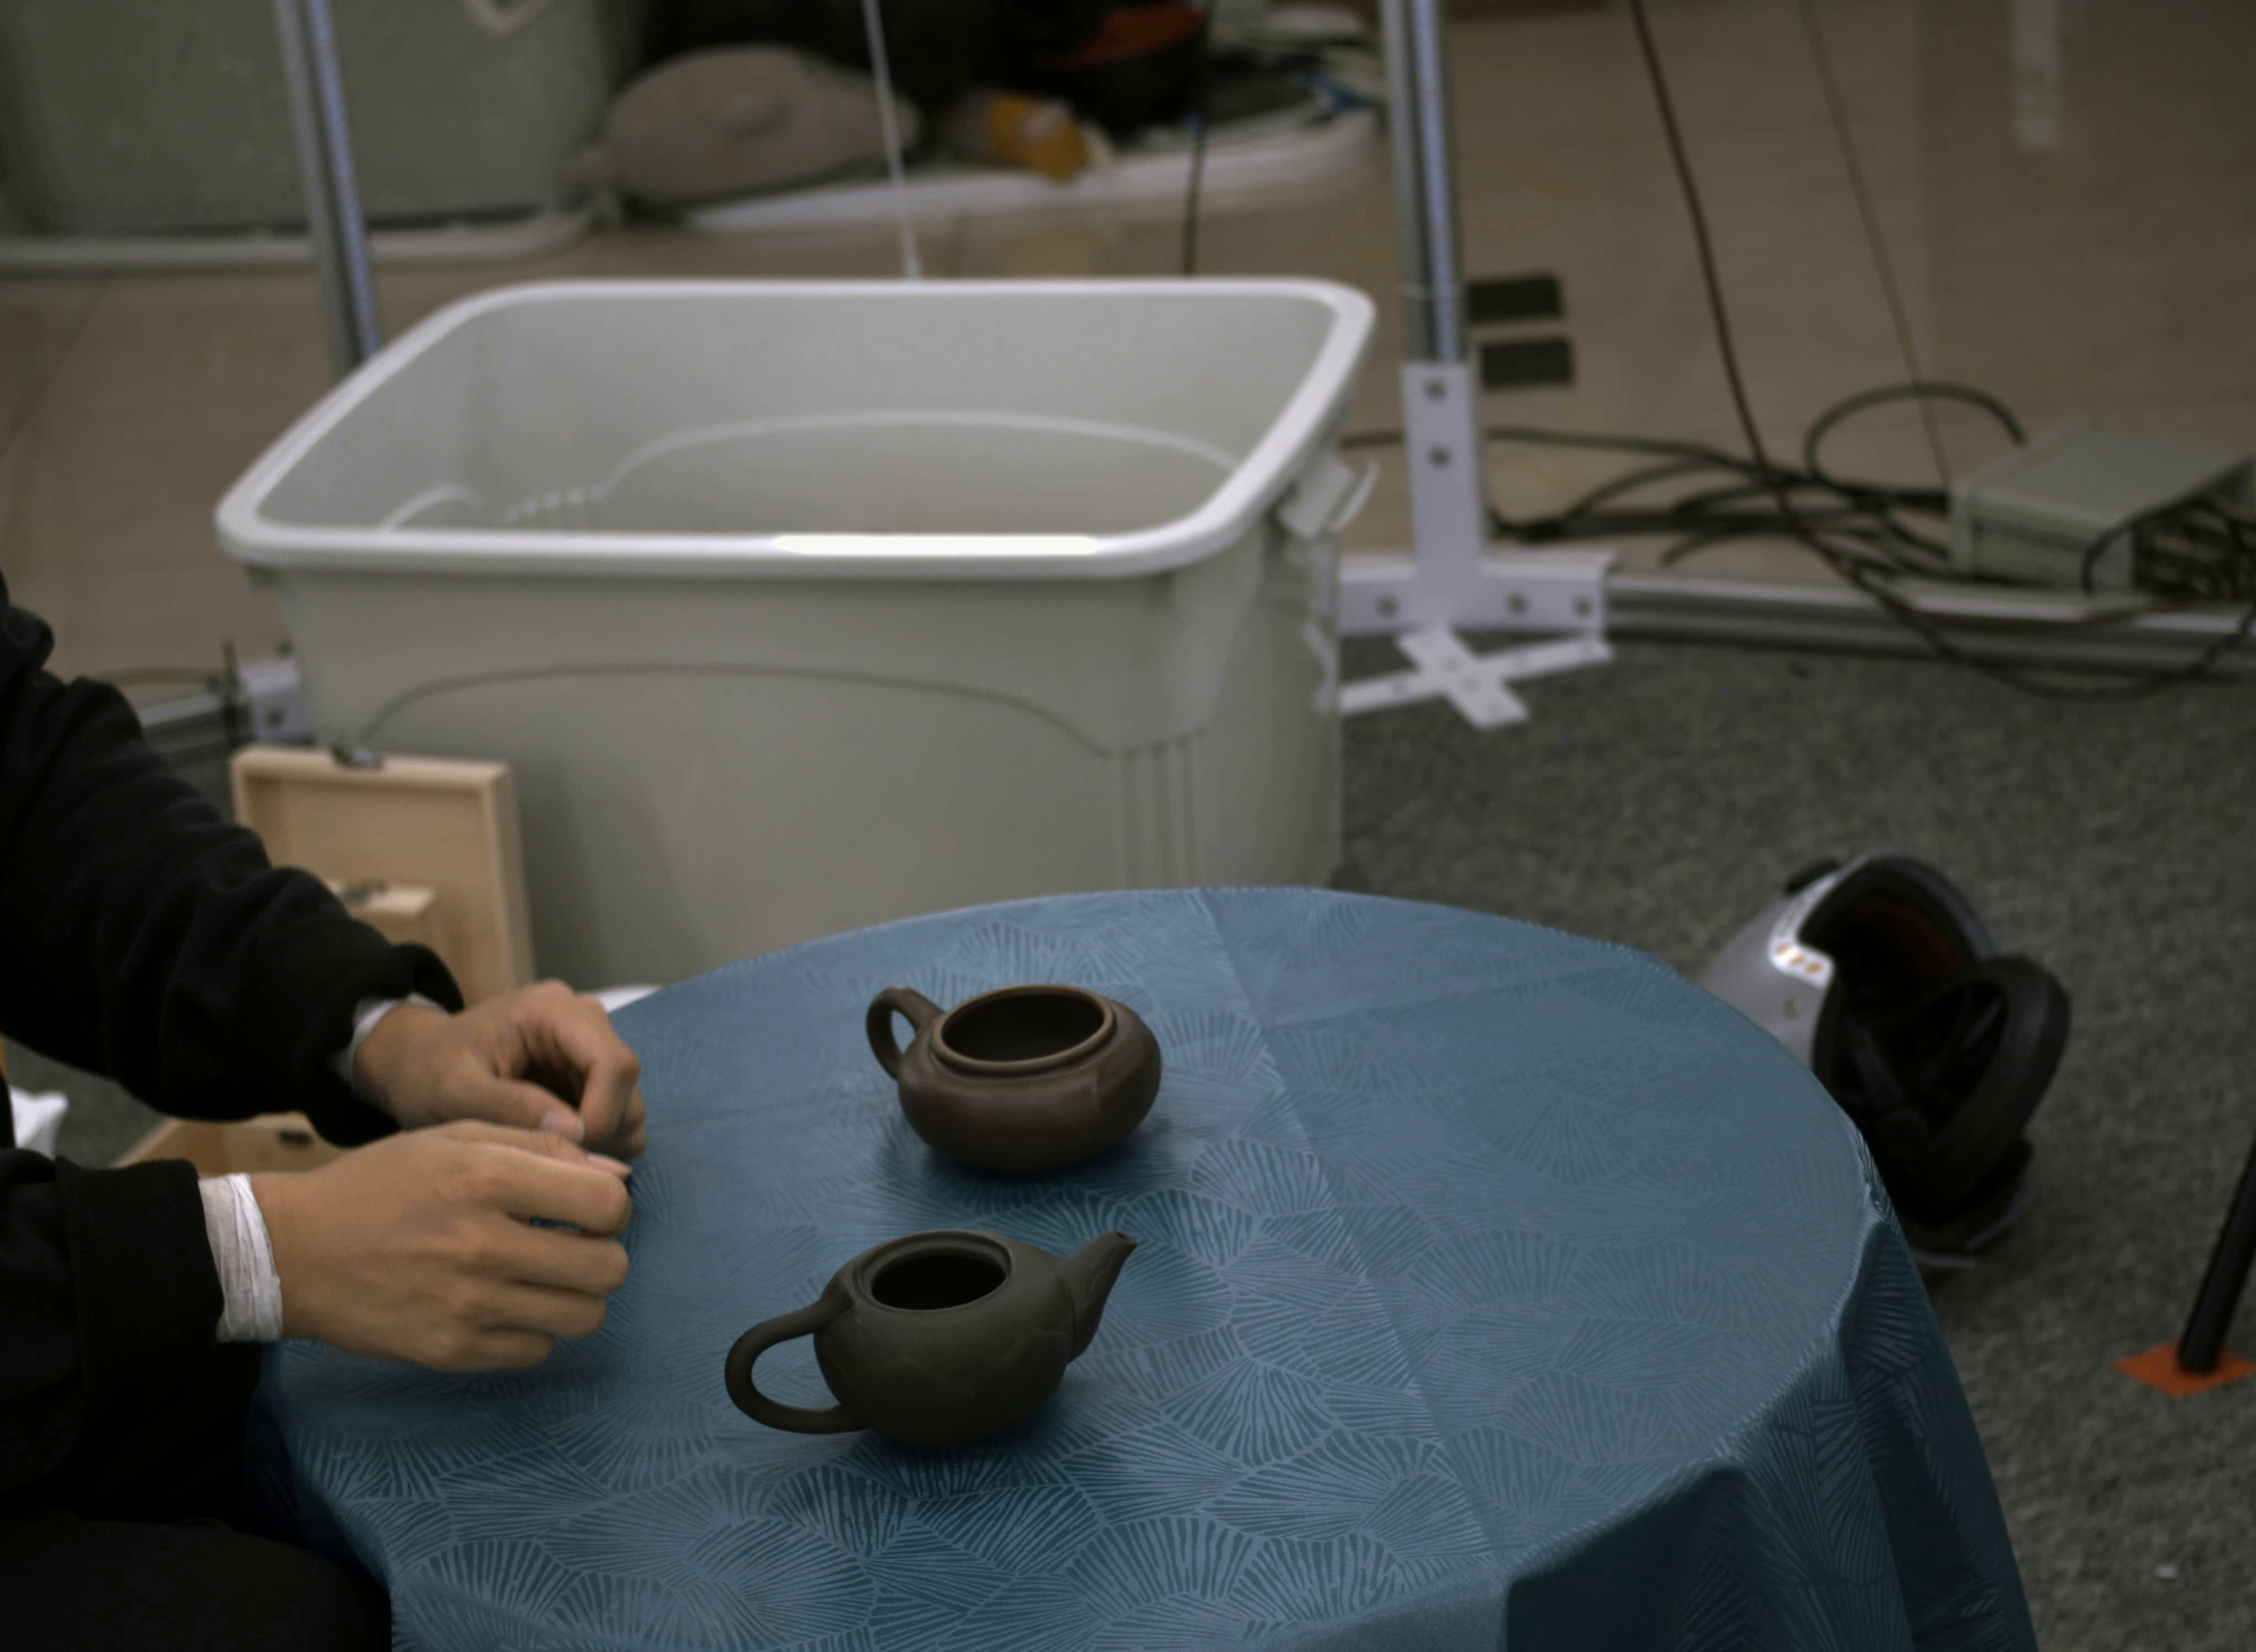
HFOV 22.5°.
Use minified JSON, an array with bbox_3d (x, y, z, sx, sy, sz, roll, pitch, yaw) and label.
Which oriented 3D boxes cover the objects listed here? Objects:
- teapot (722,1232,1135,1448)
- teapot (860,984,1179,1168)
[{"bbox_3d":[-0.068,0.180,2.001,0.154,0.065,0.091,-13,24,-14],"label":"teapot"},{"bbox_3d":[-0.042,0.094,2.190,0.152,0.054,0.101,11,28,32],"label":"teapot"}]
